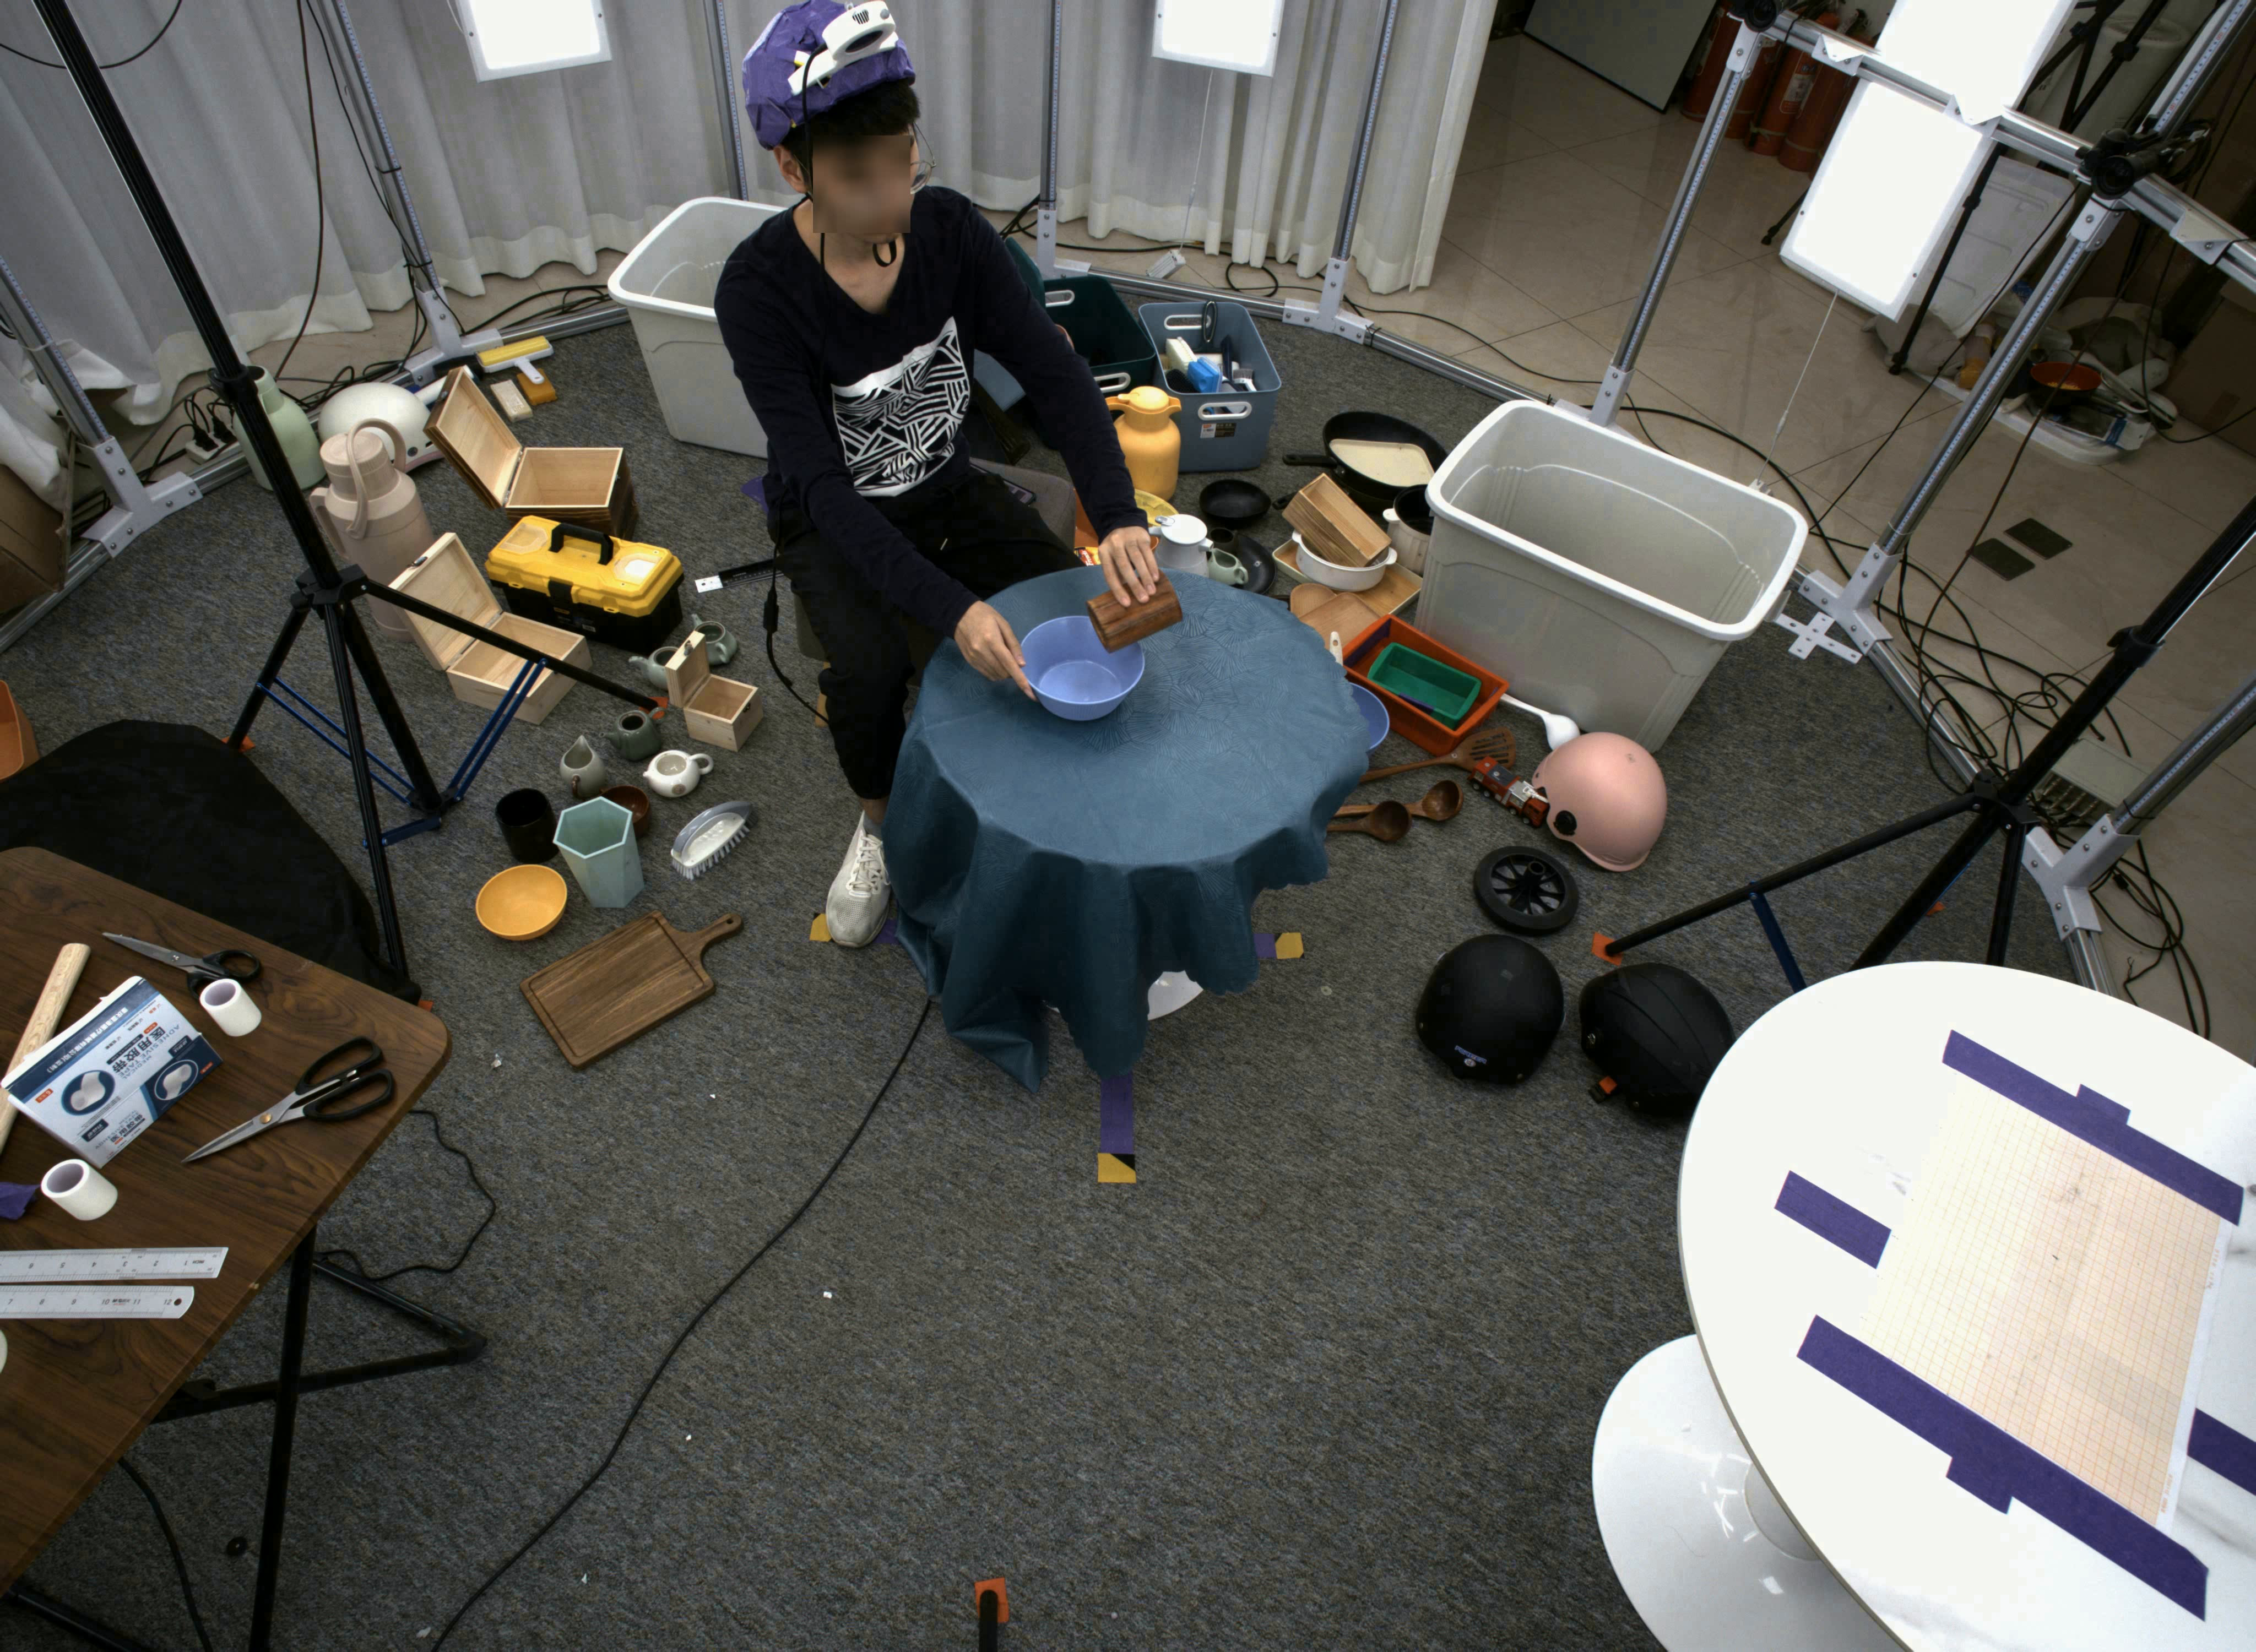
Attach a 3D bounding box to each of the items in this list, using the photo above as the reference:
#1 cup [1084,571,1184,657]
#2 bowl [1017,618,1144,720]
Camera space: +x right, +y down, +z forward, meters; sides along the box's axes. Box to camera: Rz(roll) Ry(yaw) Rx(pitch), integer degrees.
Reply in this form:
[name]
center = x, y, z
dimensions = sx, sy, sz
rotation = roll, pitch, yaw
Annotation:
[cup]
center = 0.008, -0.291, 1.768
dimensions = 0.118, 0.085, 0.090
rotation = -22, 53, -6
[bowl]
center = -0.067, -0.212, 1.802
dimensions = 0.176, 0.068, 0.180
rotation = 2, 48, -2
